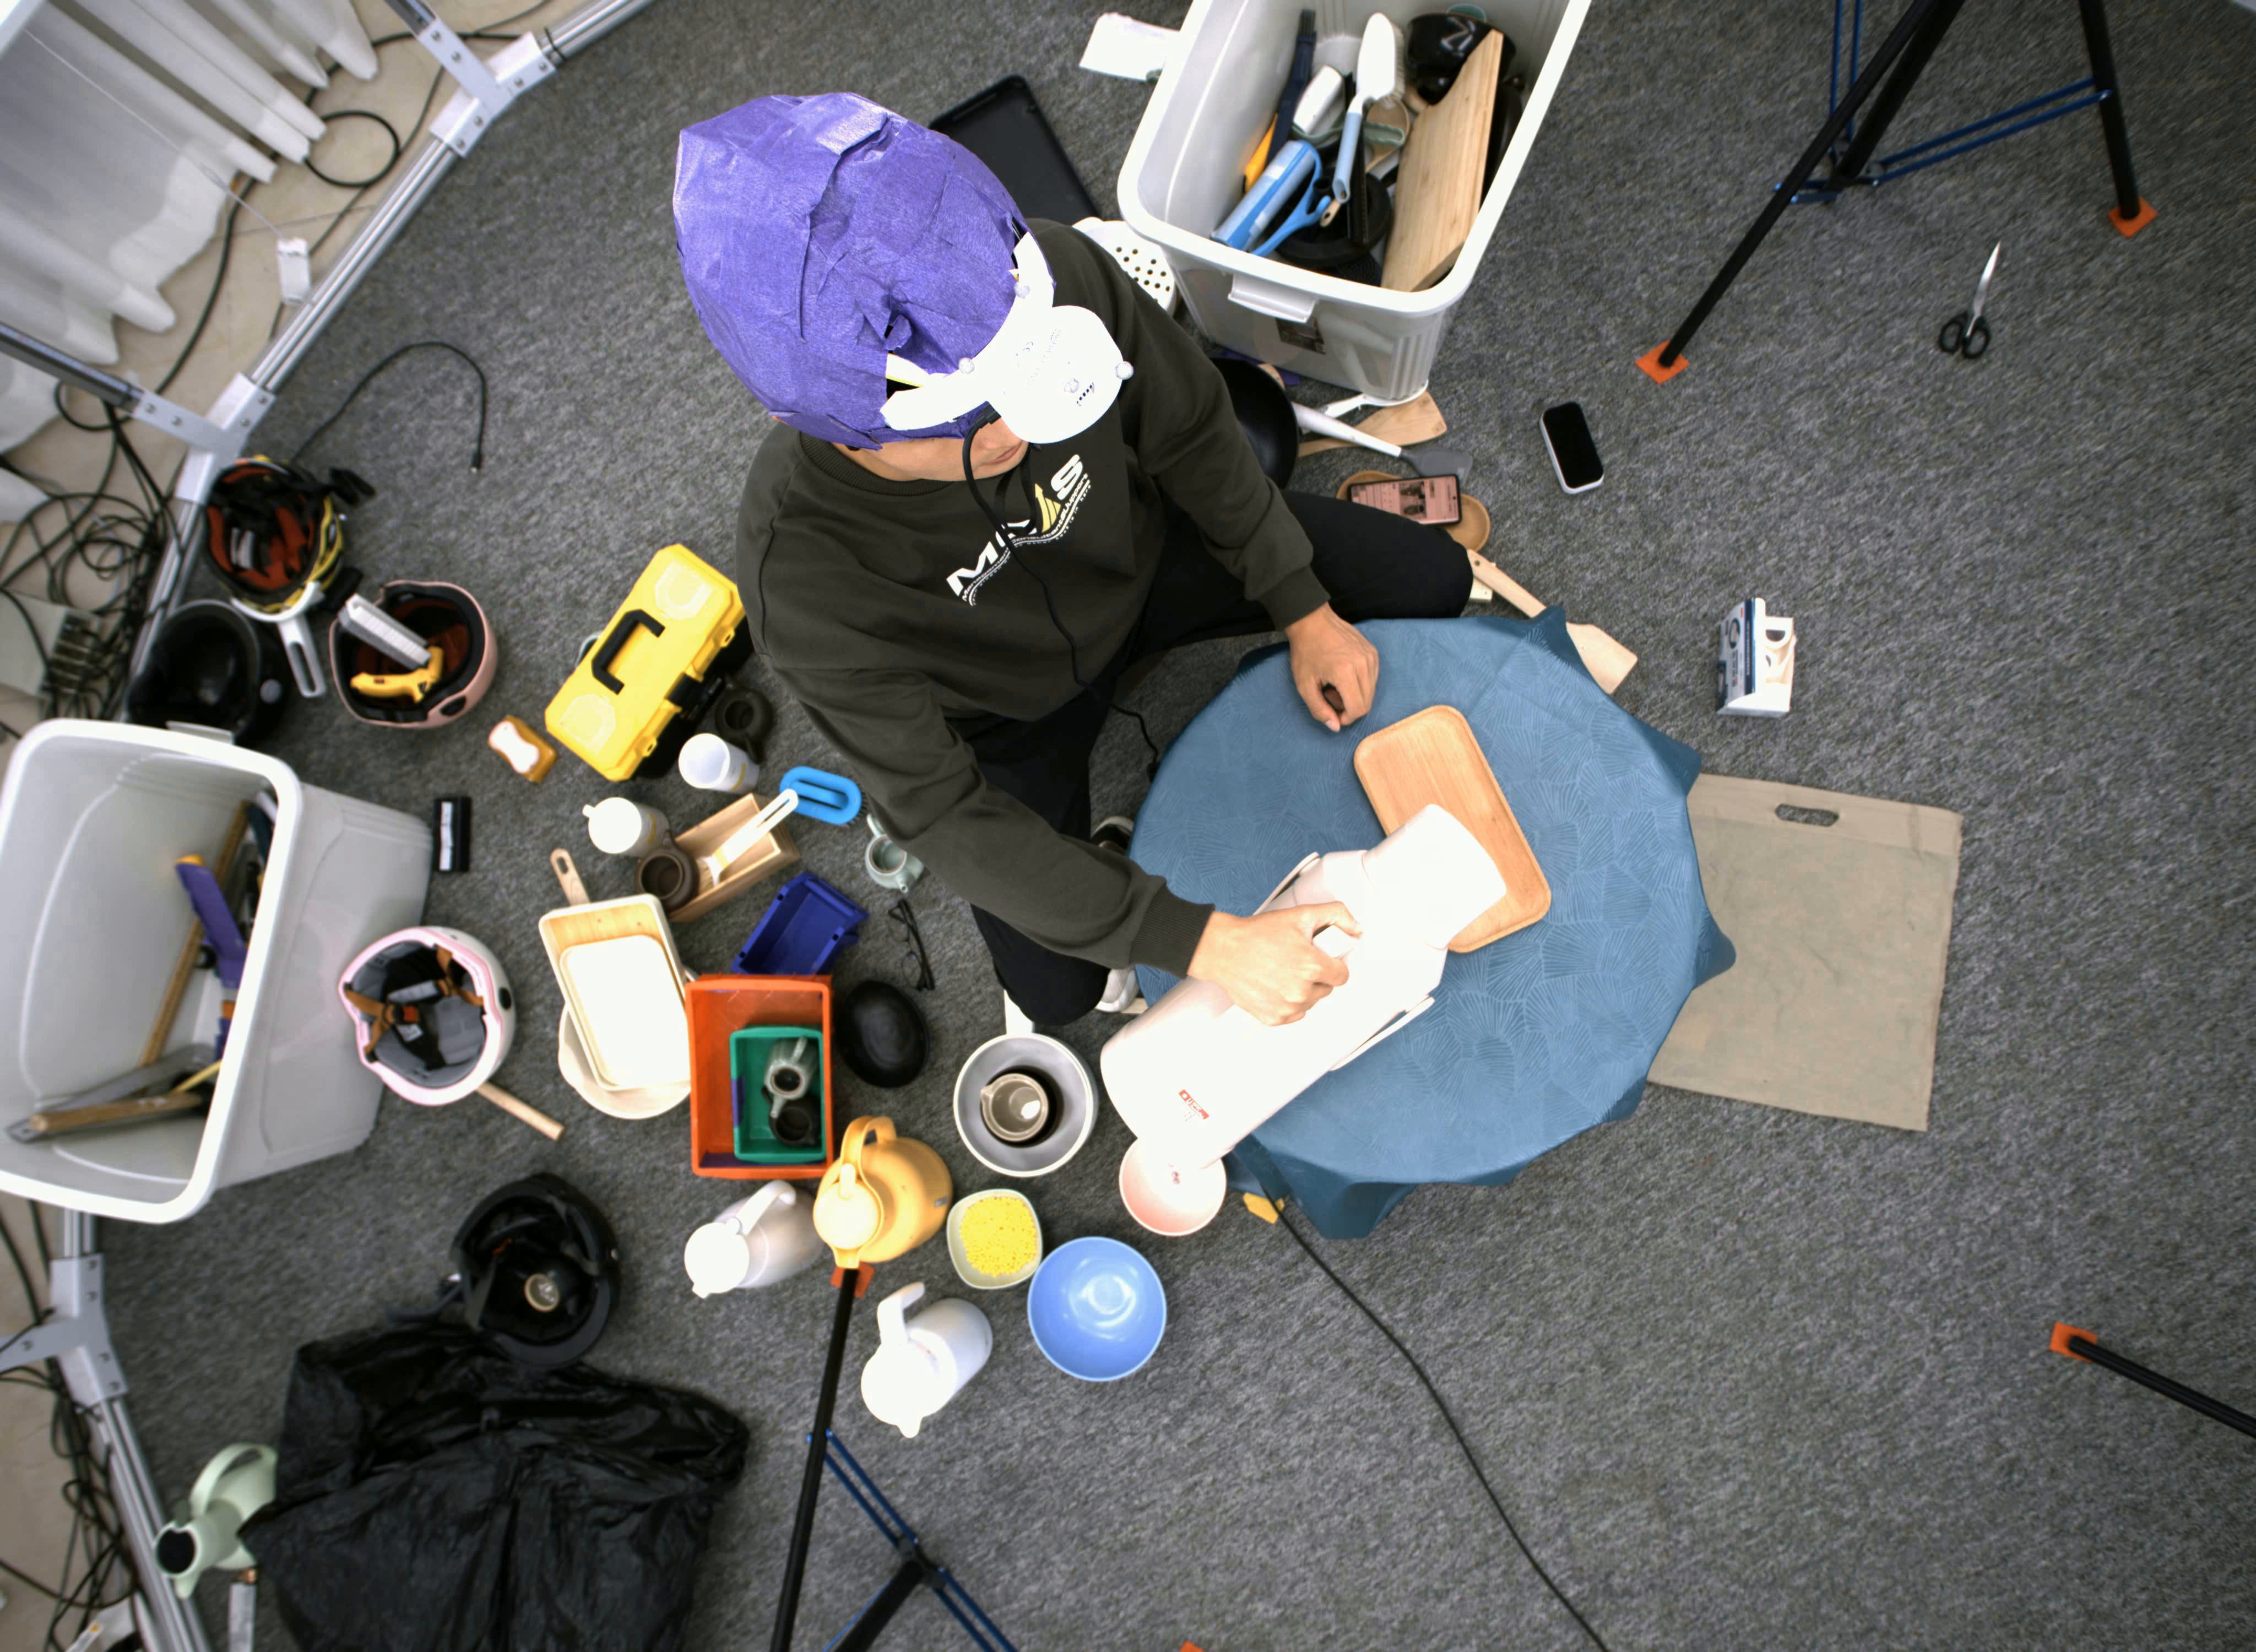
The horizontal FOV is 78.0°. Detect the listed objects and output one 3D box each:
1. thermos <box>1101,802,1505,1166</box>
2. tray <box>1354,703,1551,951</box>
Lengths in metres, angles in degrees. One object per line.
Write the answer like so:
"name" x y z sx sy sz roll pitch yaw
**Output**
"thermos" 0.157 0.144 1.287 0.413 0.205 0.174 -42 75 24
"tray" 0.339 -0.001 1.443 0.131 0.023 0.249 -24 82 6
